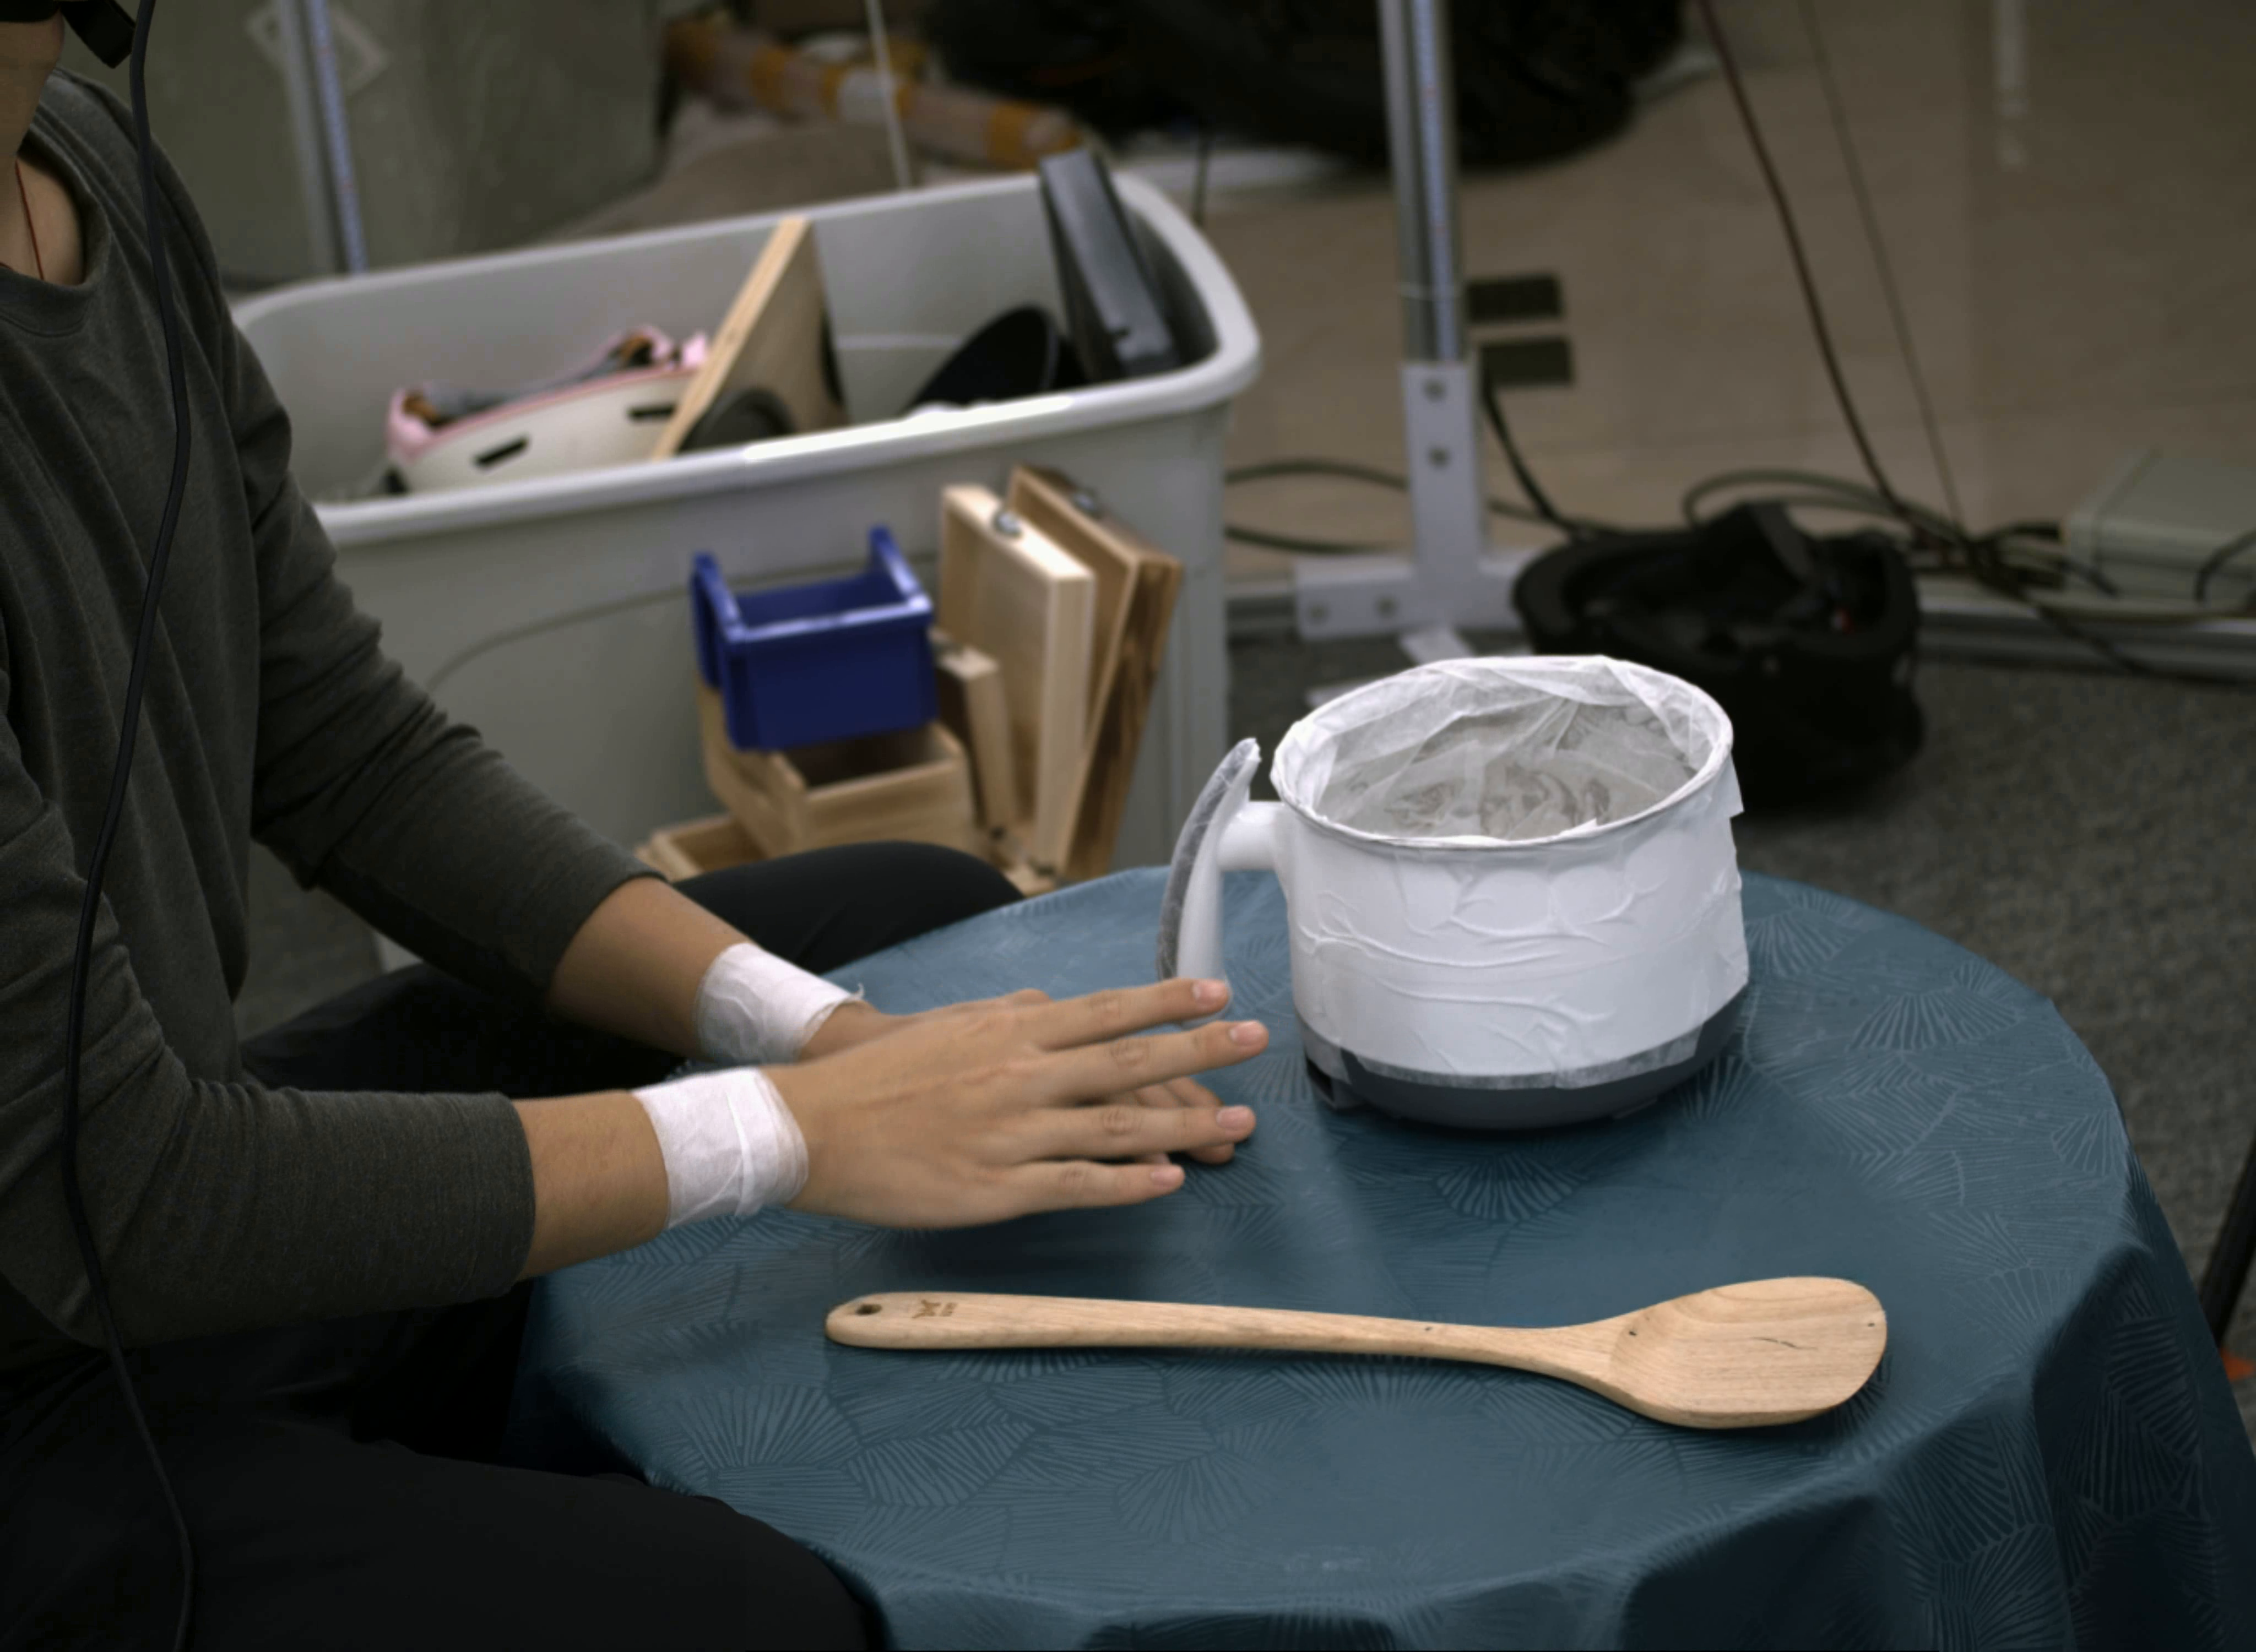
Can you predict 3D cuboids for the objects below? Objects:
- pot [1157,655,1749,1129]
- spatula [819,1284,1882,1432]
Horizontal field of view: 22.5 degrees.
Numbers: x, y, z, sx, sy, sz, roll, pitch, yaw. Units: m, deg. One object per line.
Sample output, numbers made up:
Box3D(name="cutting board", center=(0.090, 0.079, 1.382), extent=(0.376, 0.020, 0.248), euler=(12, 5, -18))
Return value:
Box3D(name="pot", center=(0.123, 0.027, 2.196), extent=(0.233, 0.139, 0.176), euler=(-1, 25, 12))
Box3D(name="spatula", center=(0.073, 0.183, 2.017), extent=(0.390, 0.019, 0.094), euler=(1, 24, 16))
